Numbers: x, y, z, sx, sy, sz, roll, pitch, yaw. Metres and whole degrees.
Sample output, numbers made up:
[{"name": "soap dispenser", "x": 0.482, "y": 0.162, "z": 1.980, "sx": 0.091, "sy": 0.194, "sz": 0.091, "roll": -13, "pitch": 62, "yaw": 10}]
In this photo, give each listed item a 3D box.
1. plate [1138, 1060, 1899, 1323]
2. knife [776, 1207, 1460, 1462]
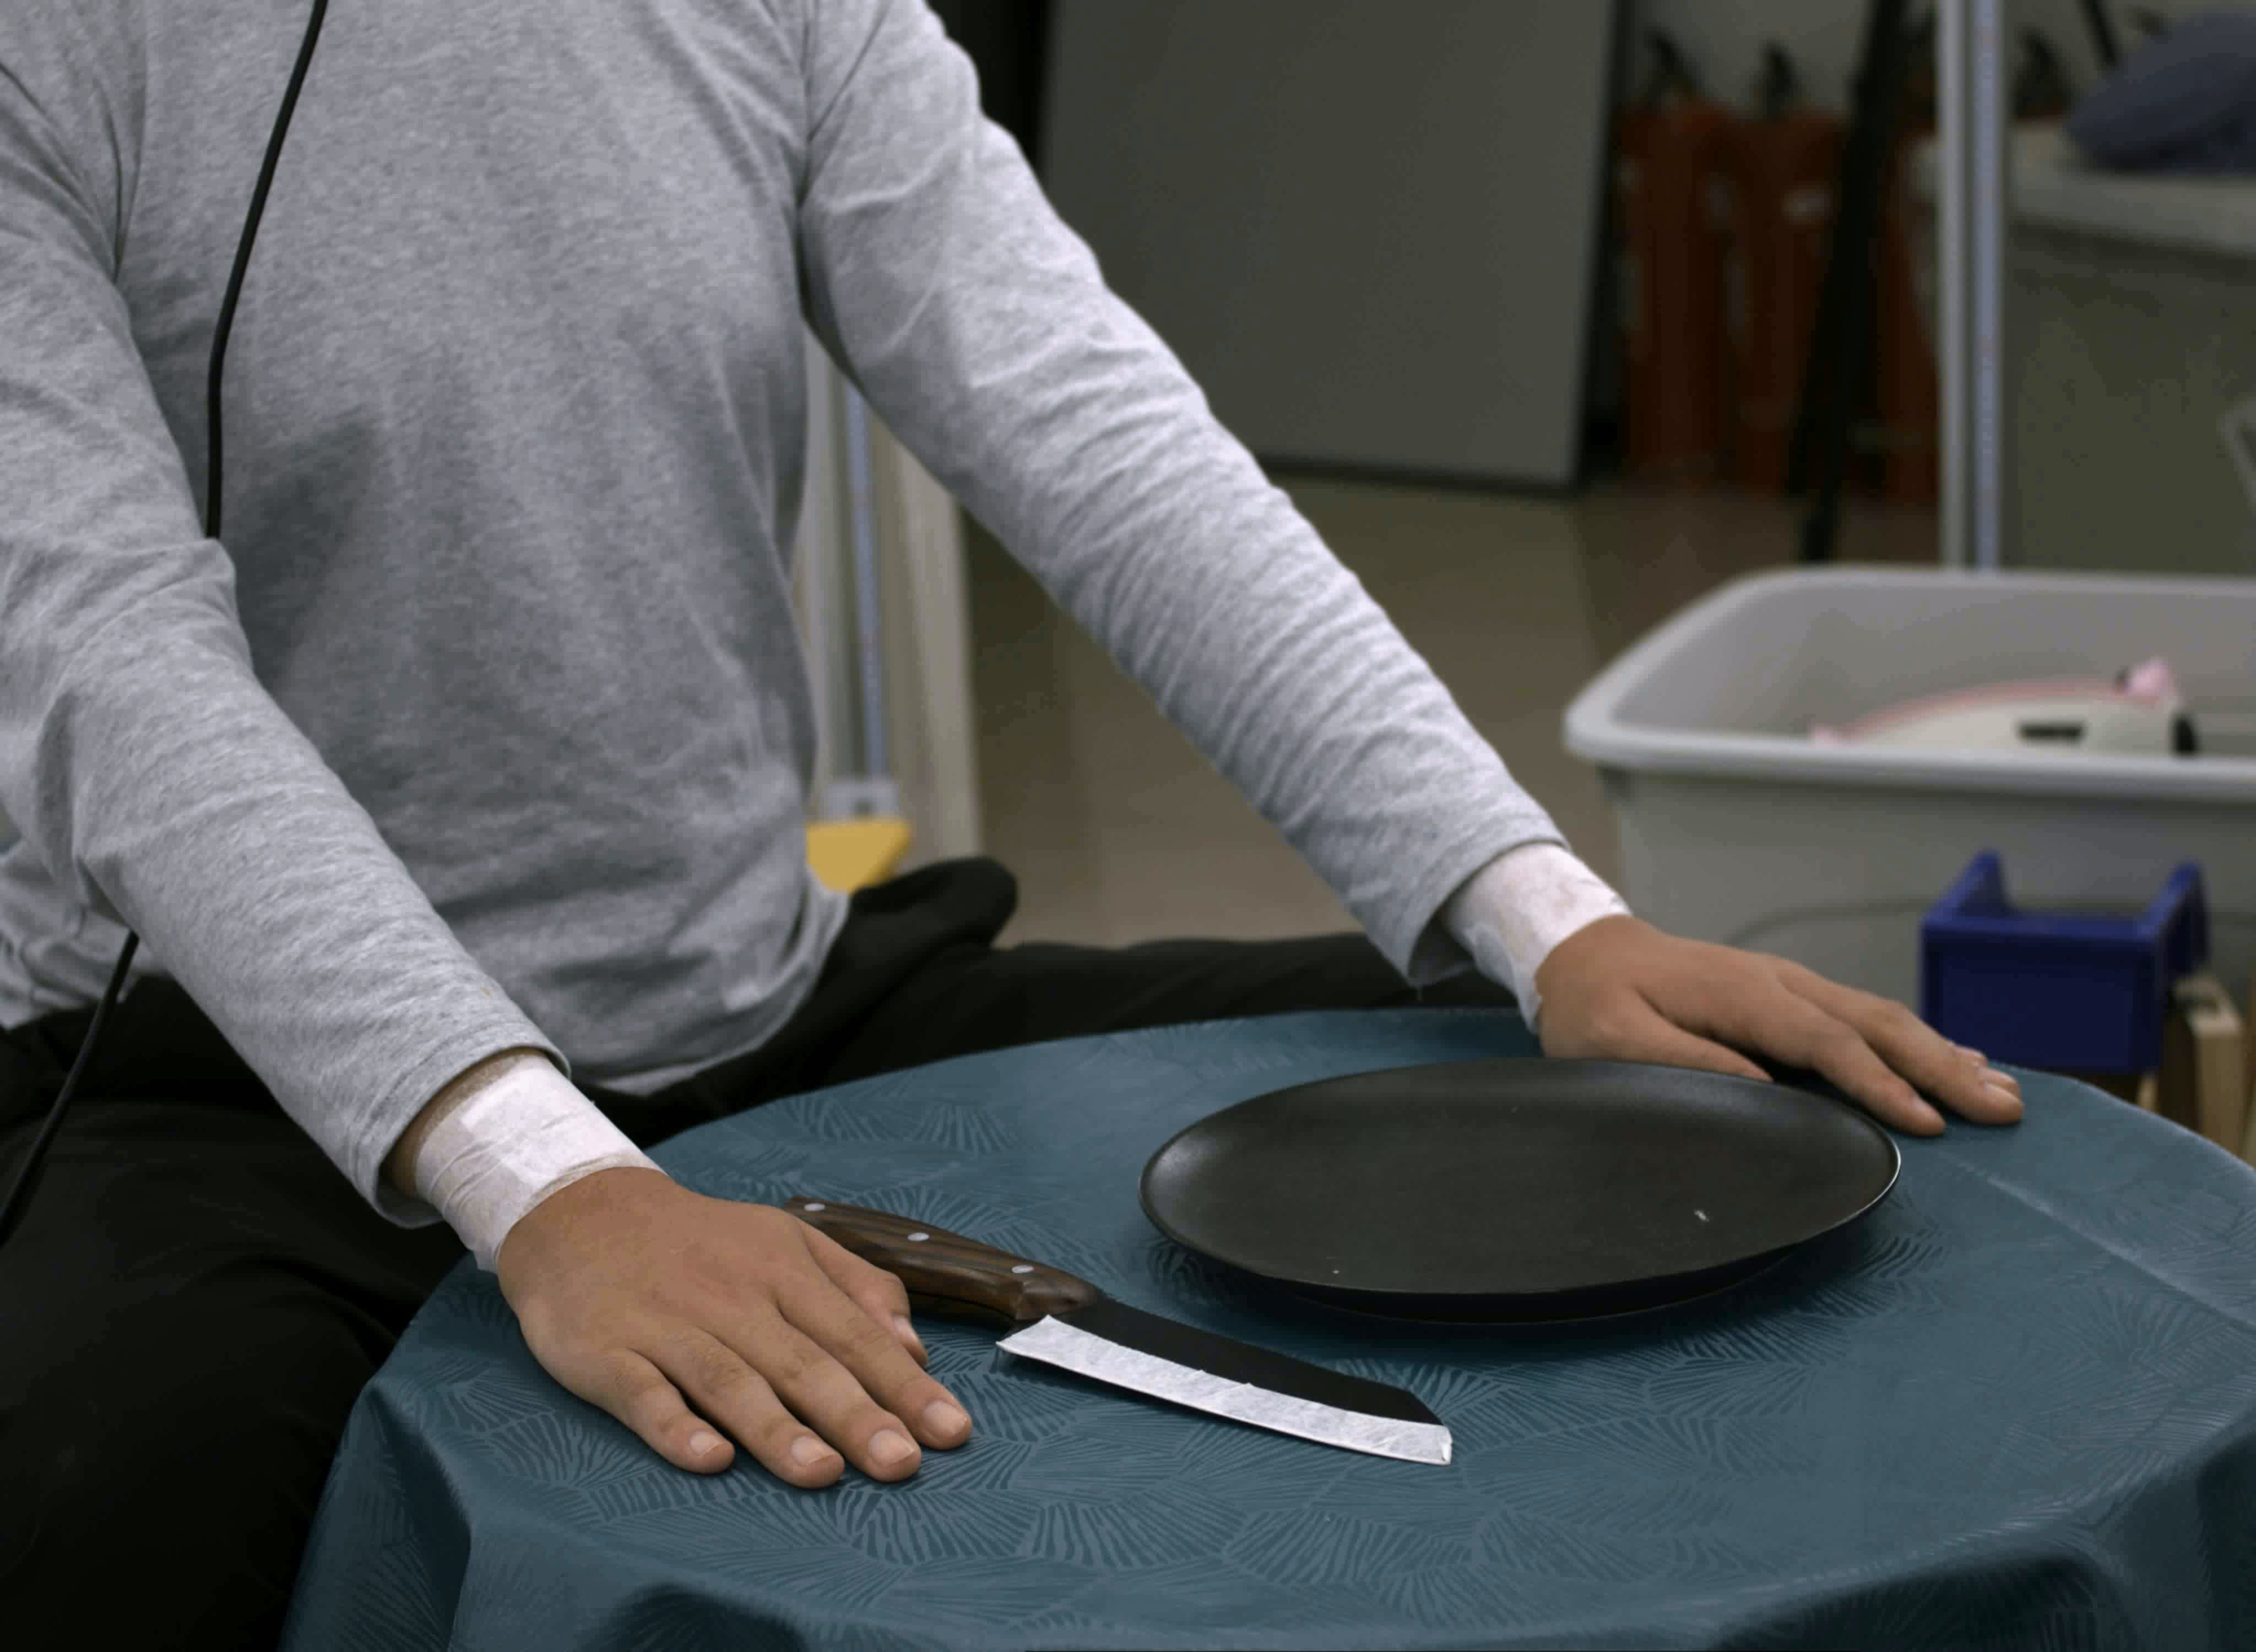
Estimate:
[{"name": "plate", "x": 0.123, "y": 0.118, "z": 1.704, "sx": 0.241, "sy": 0.024, "sz": 0.245, "roll": -4, "pitch": 13, "yaw": 0}, {"name": "knife", "x": -0.007, "y": 0.153, "z": 1.614, "sx": 0.049, "sy": 0.020, "sz": 0.292, "roll": -22, "pitch": 24, "yaw": -39}]
